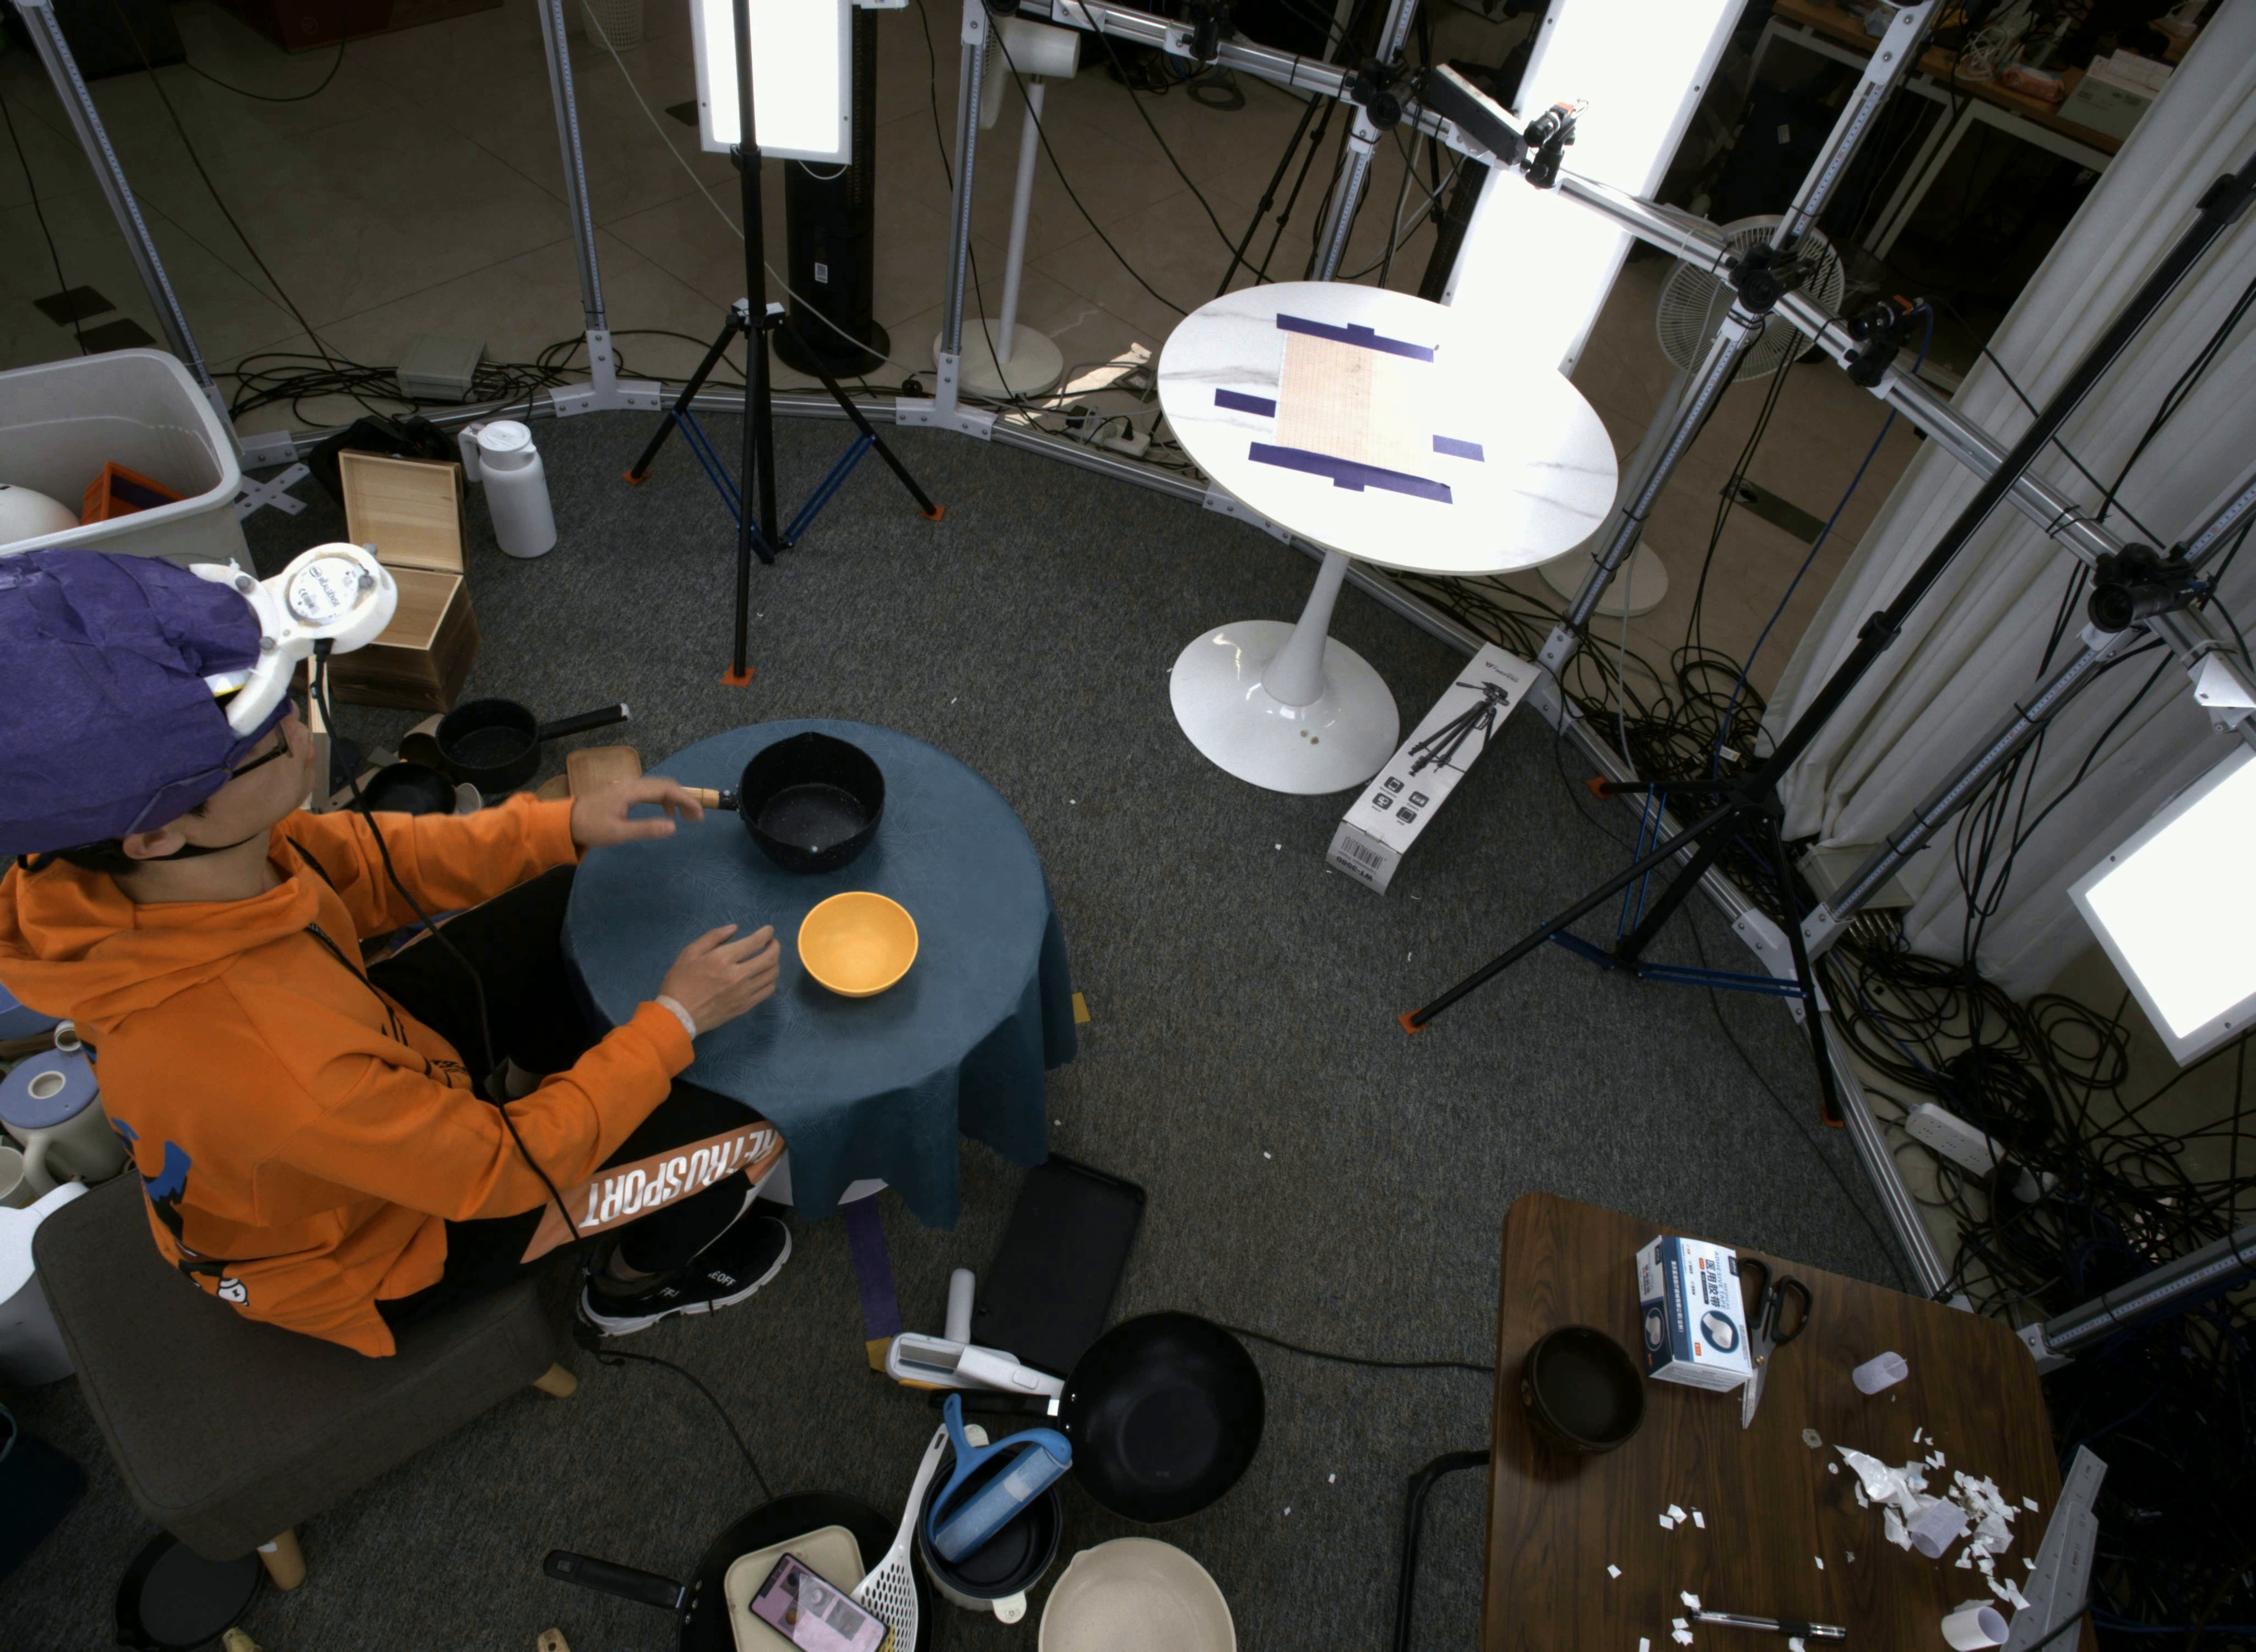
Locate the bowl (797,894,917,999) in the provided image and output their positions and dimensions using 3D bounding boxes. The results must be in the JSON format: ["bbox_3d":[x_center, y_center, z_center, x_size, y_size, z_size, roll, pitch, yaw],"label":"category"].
[{"bbox_3d":[-0.330,0.156,1.585,0.145,0.061,0.142,8,50,-8],"label":"bowl"}]

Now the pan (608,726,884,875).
[{"bbox_3d":[-0.485,-0.026,1.647,0.344,0.110,0.203,-3,56,-18],"label":"pan"}]
